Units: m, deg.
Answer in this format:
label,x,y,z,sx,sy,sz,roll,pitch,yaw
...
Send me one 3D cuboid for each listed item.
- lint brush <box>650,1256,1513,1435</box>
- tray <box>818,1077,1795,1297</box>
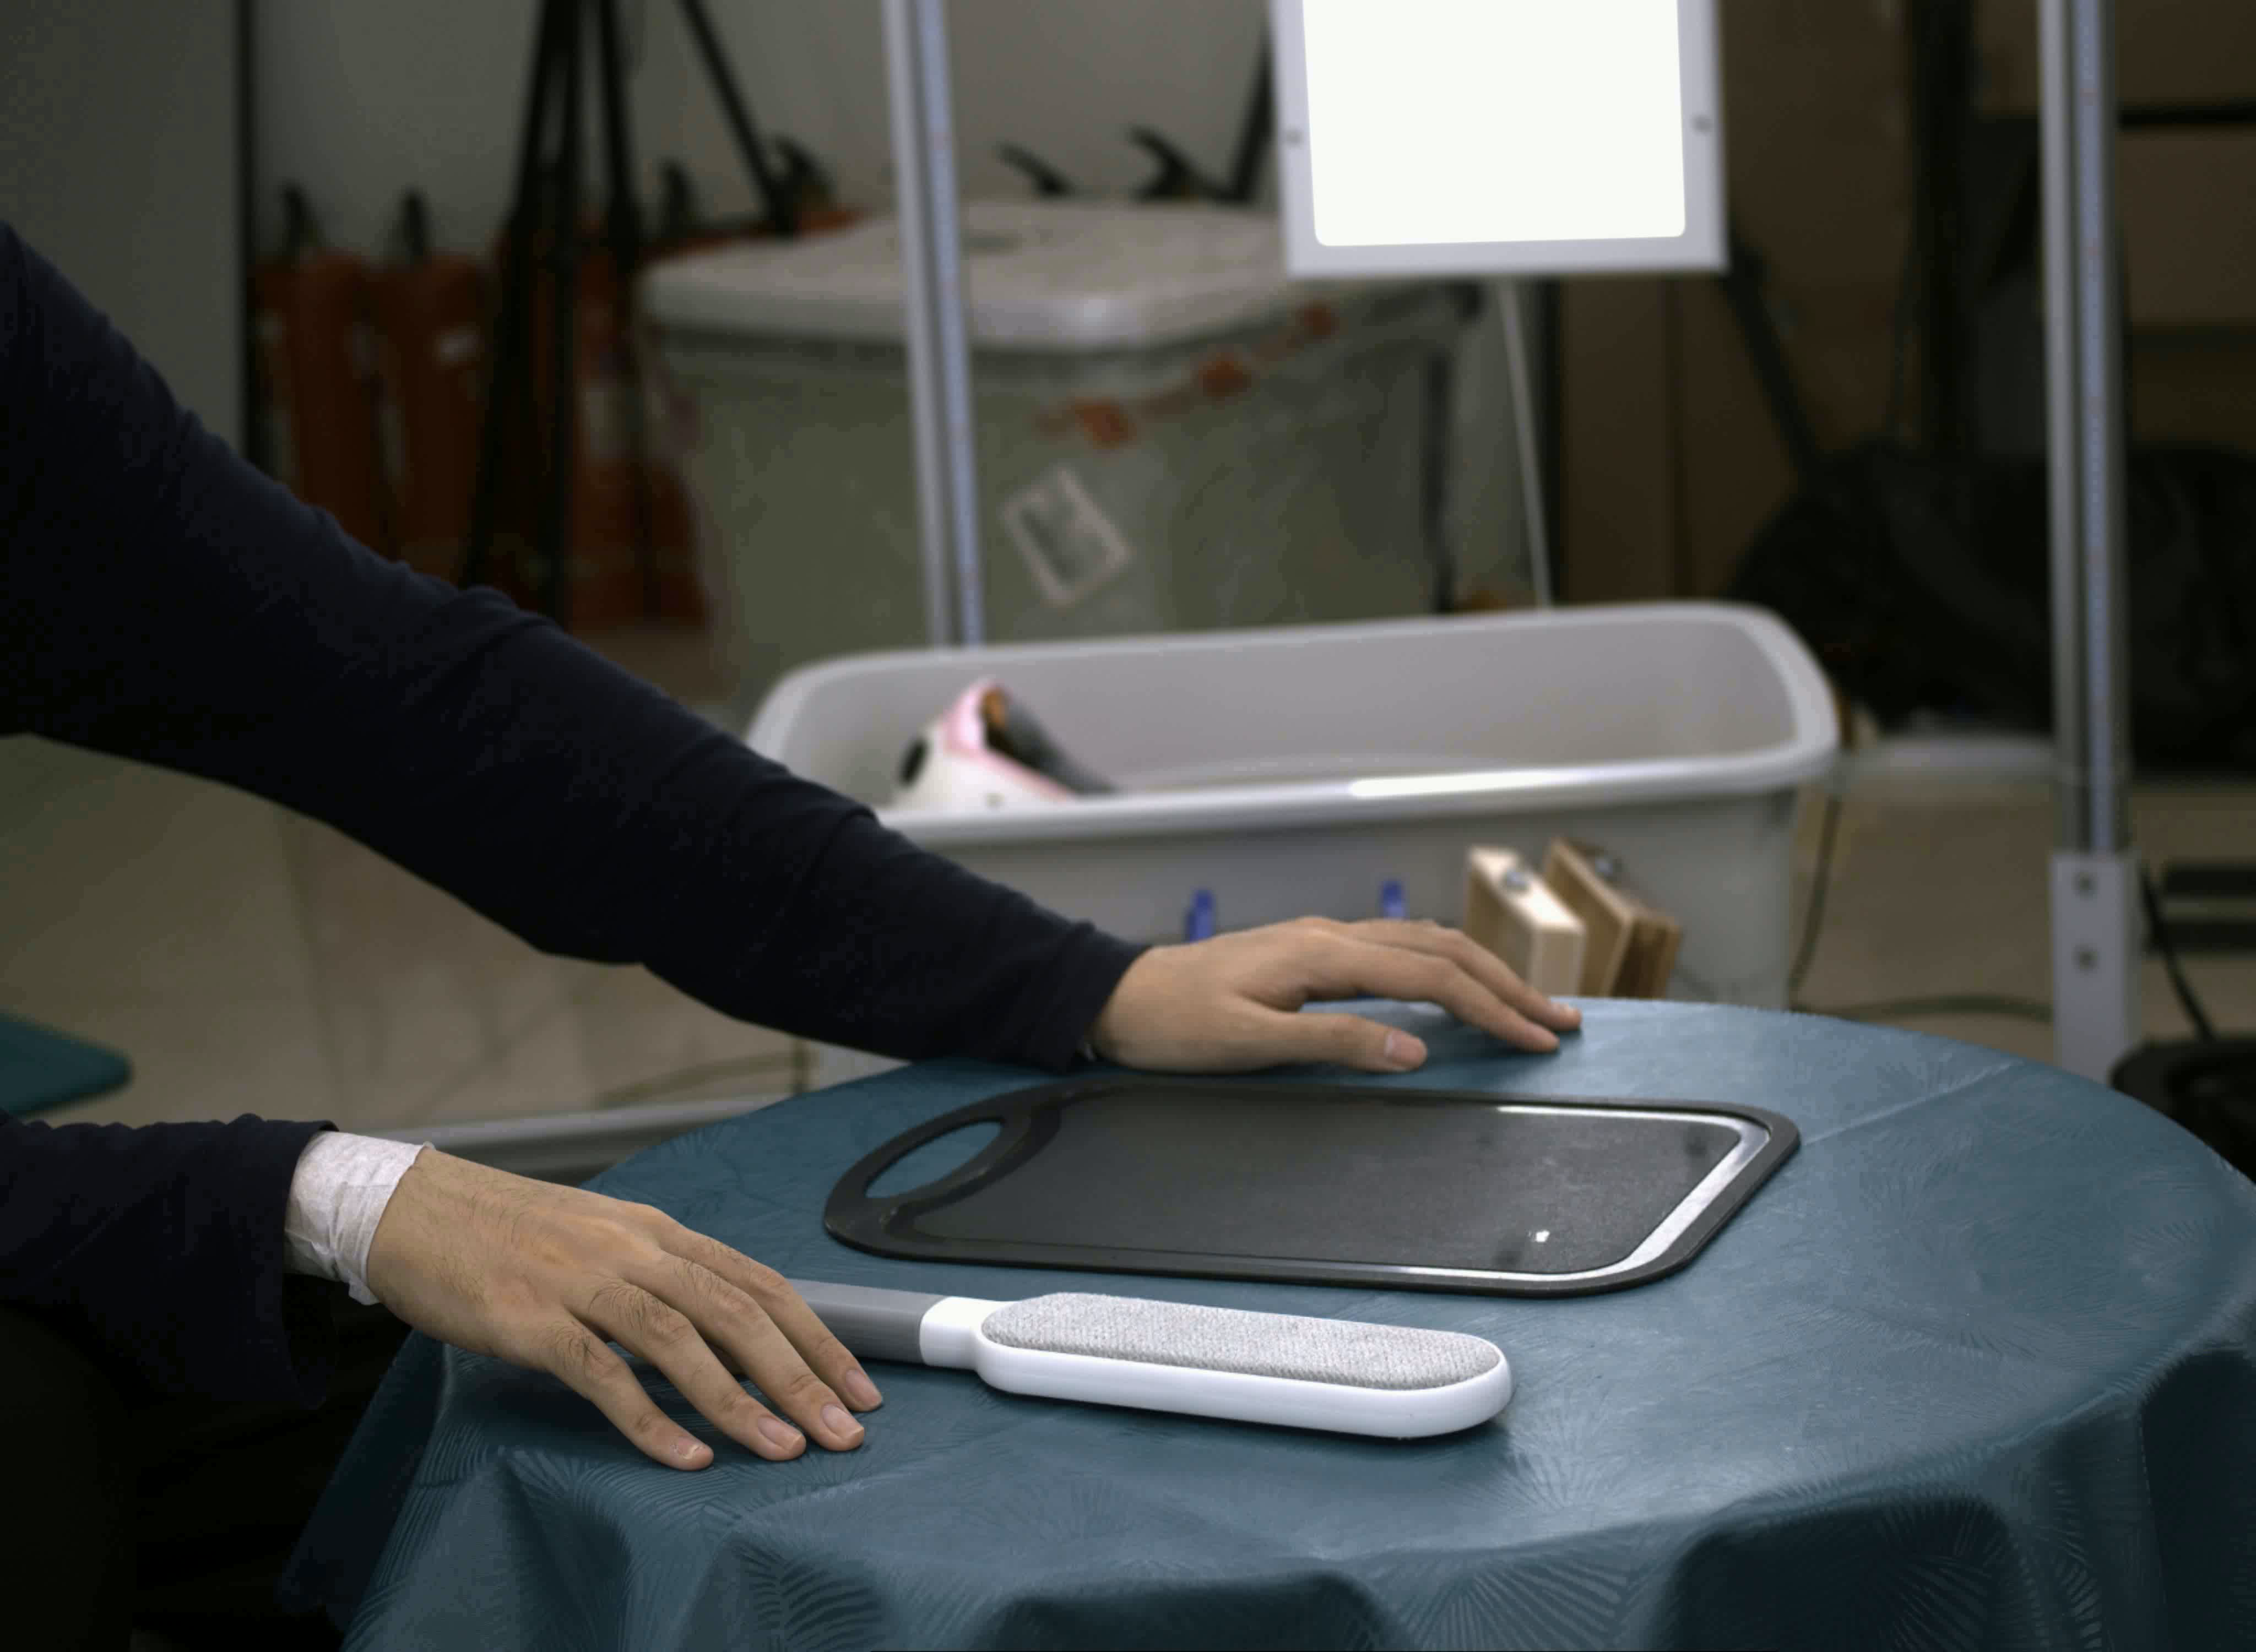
label,x,y,z,sx,sy,sz,roll,pitch,yaw
lint brush,-0.021,0.158,1.722,0.315,0.021,0.059,4,21,32
tray,0.055,0.120,1.897,0.331,0.010,0.207,1,15,26
